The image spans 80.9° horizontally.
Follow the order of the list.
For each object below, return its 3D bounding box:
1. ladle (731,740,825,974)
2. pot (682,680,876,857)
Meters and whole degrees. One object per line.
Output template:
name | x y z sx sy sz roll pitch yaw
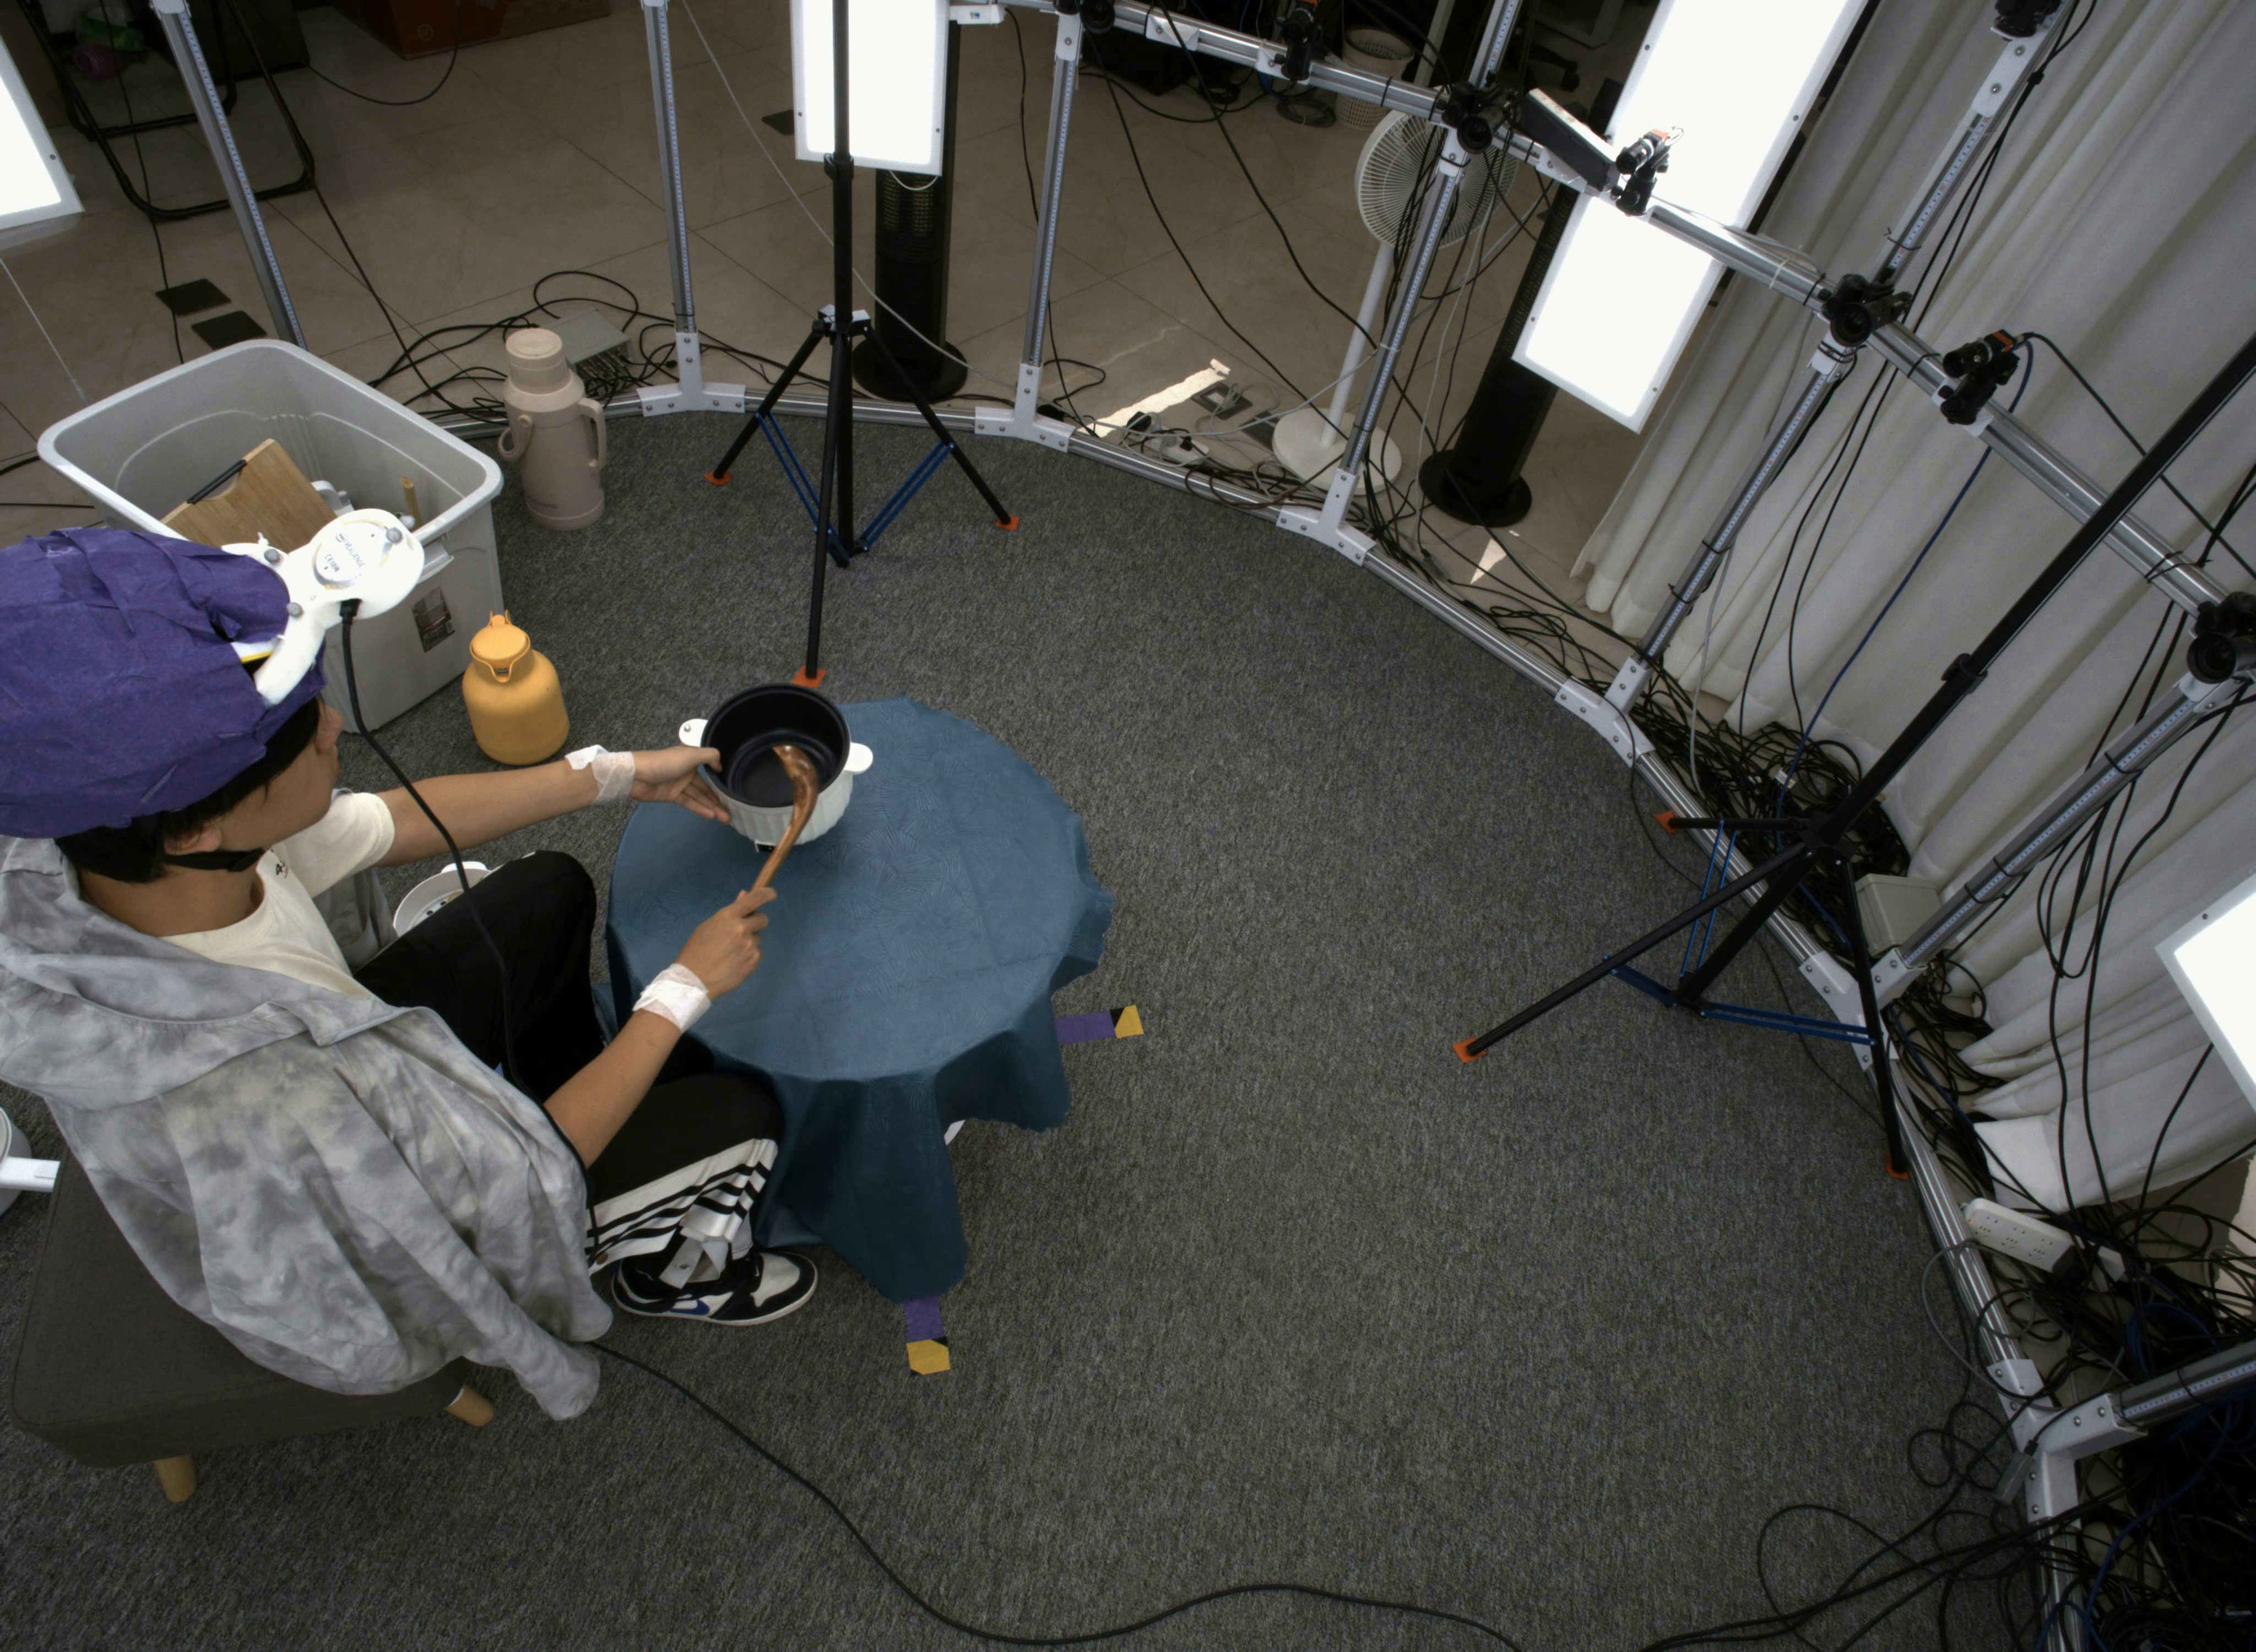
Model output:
ladle | -0.421 0.029 1.488 0.075 0.084 0.274 18 72 11
pot | -0.434 -0.075 1.641 0.239 0.145 0.189 9 64 -5
